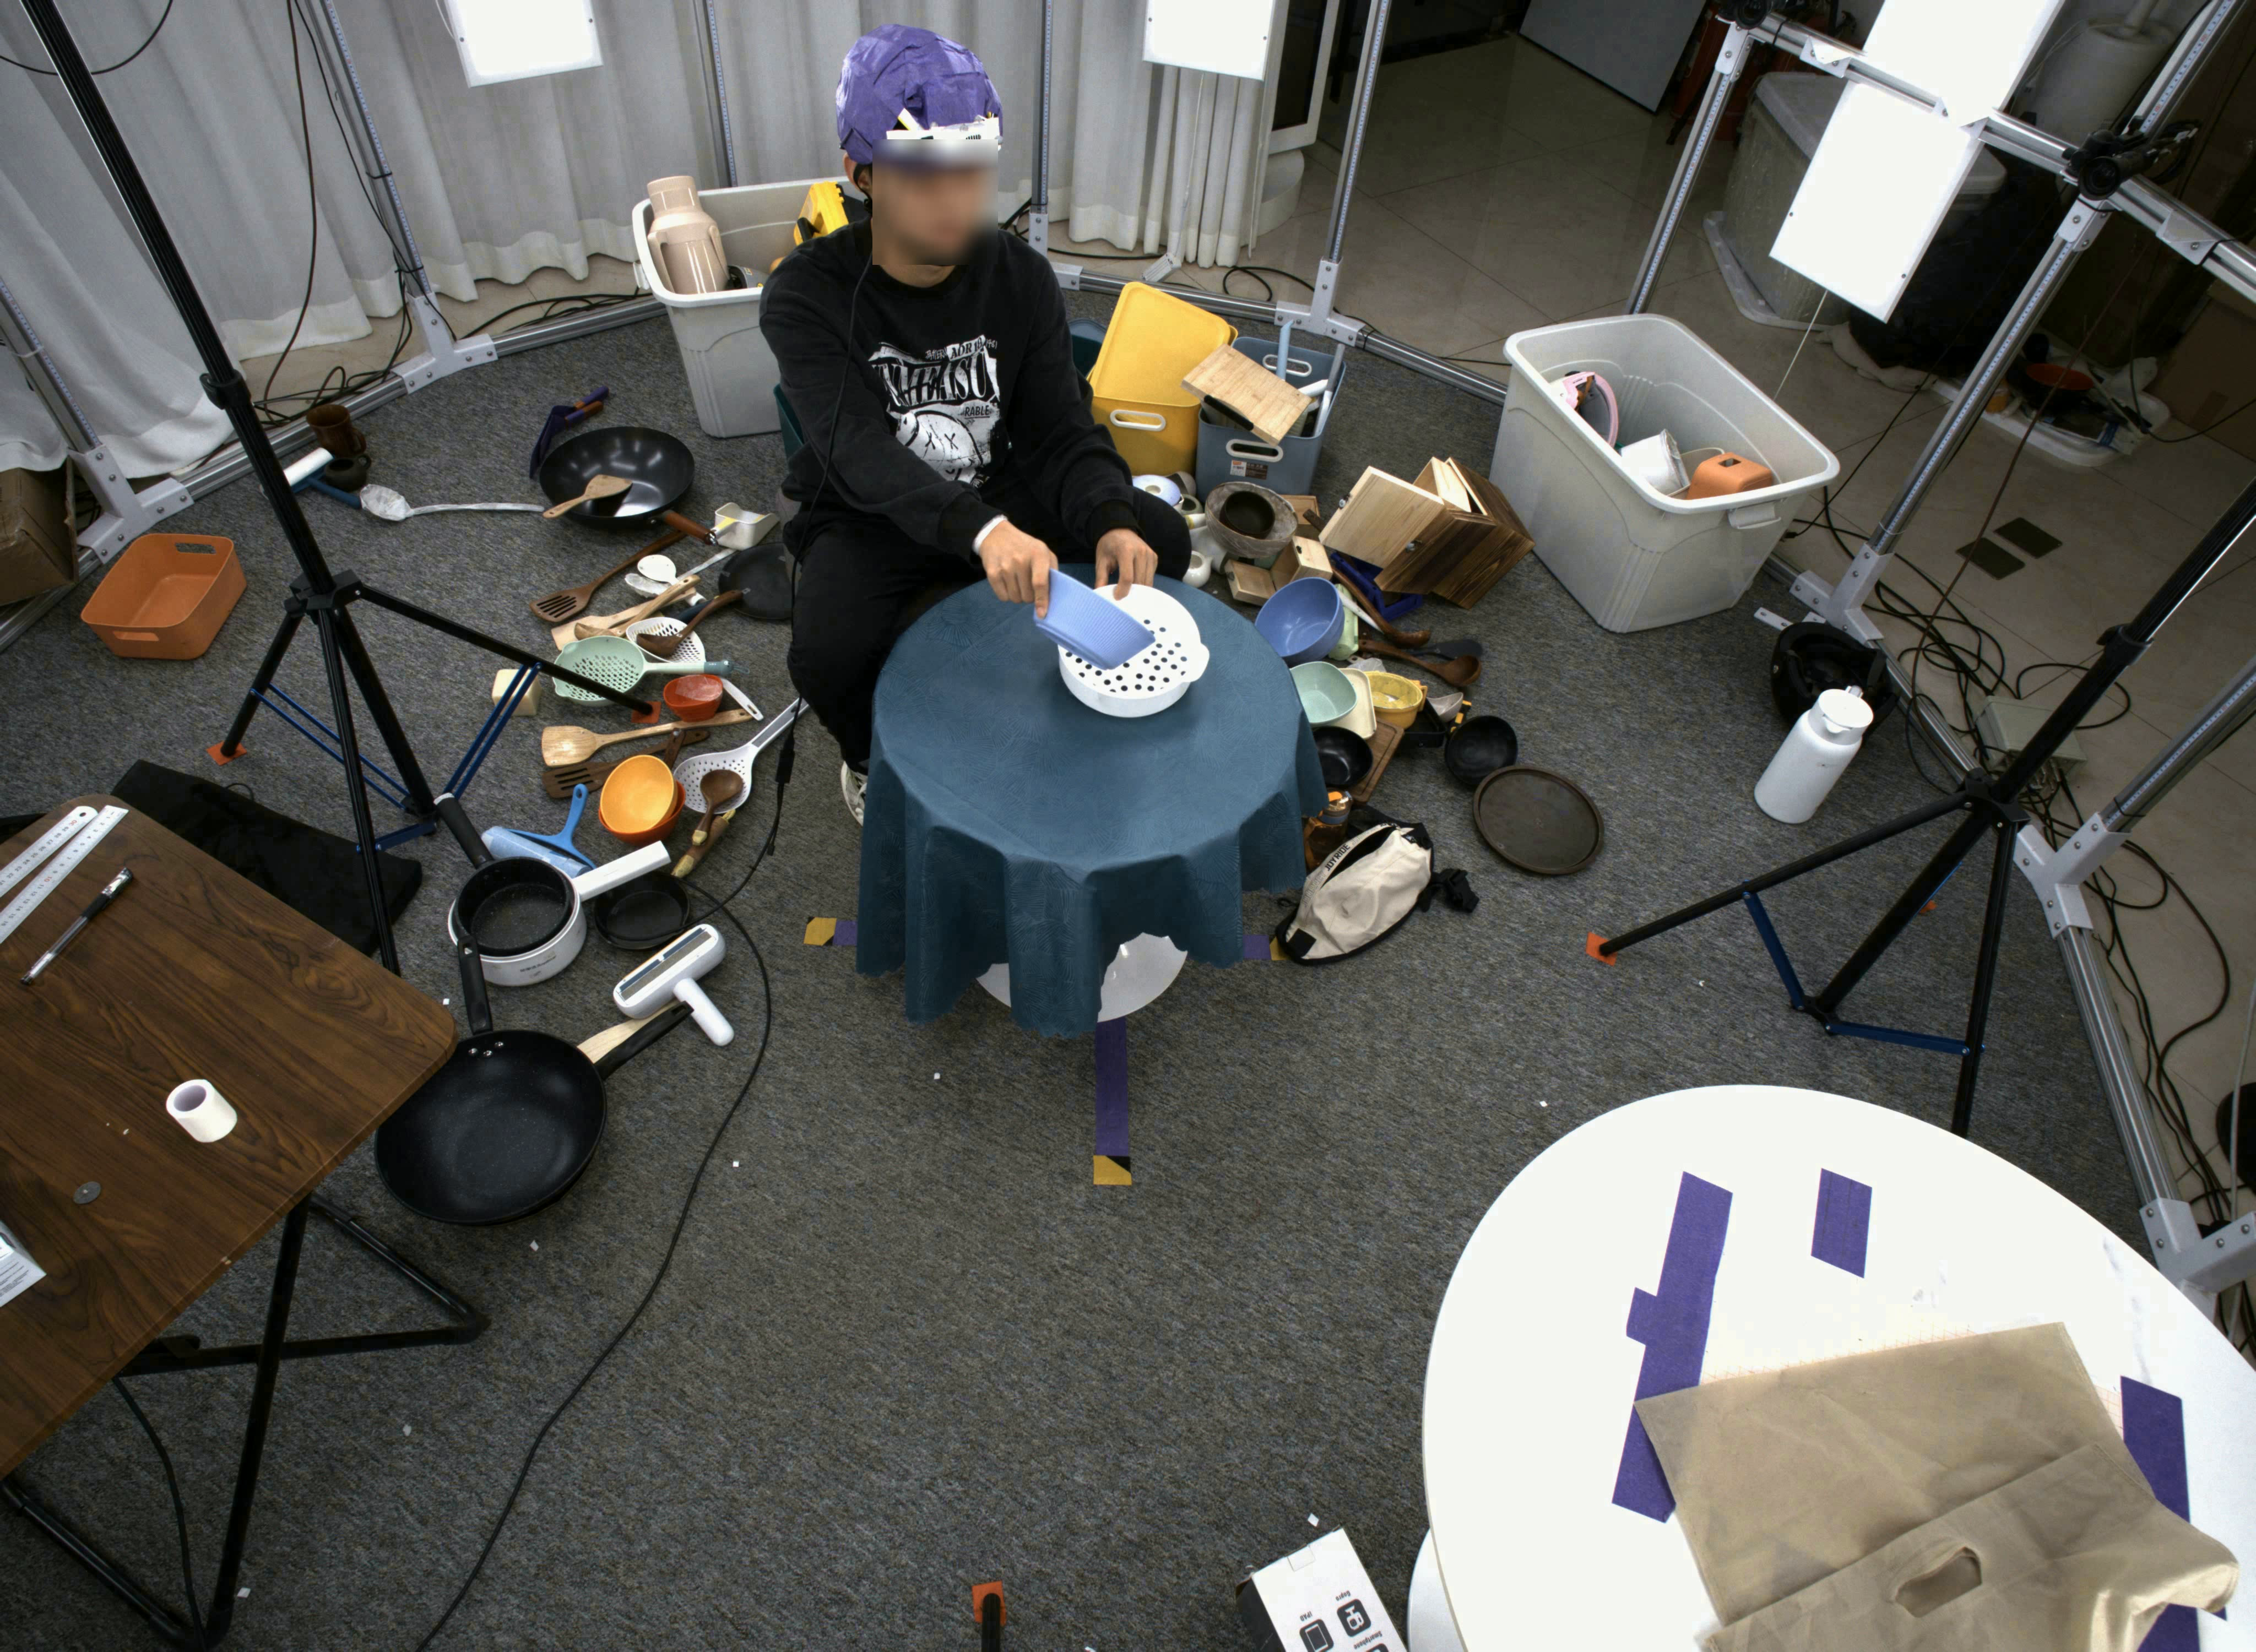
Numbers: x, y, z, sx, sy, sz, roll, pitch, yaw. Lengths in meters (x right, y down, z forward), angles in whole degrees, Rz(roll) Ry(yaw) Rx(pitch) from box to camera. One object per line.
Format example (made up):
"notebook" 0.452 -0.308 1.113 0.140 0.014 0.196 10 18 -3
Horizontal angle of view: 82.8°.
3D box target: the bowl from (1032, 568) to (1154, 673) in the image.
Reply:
"bowl" -0.057 -0.257 1.659 0.178 0.174 0.070 32 91 21

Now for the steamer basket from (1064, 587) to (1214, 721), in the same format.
"steamer basket" 0.006 -0.245 1.841 0.231 0.068 0.205 20 59 6
